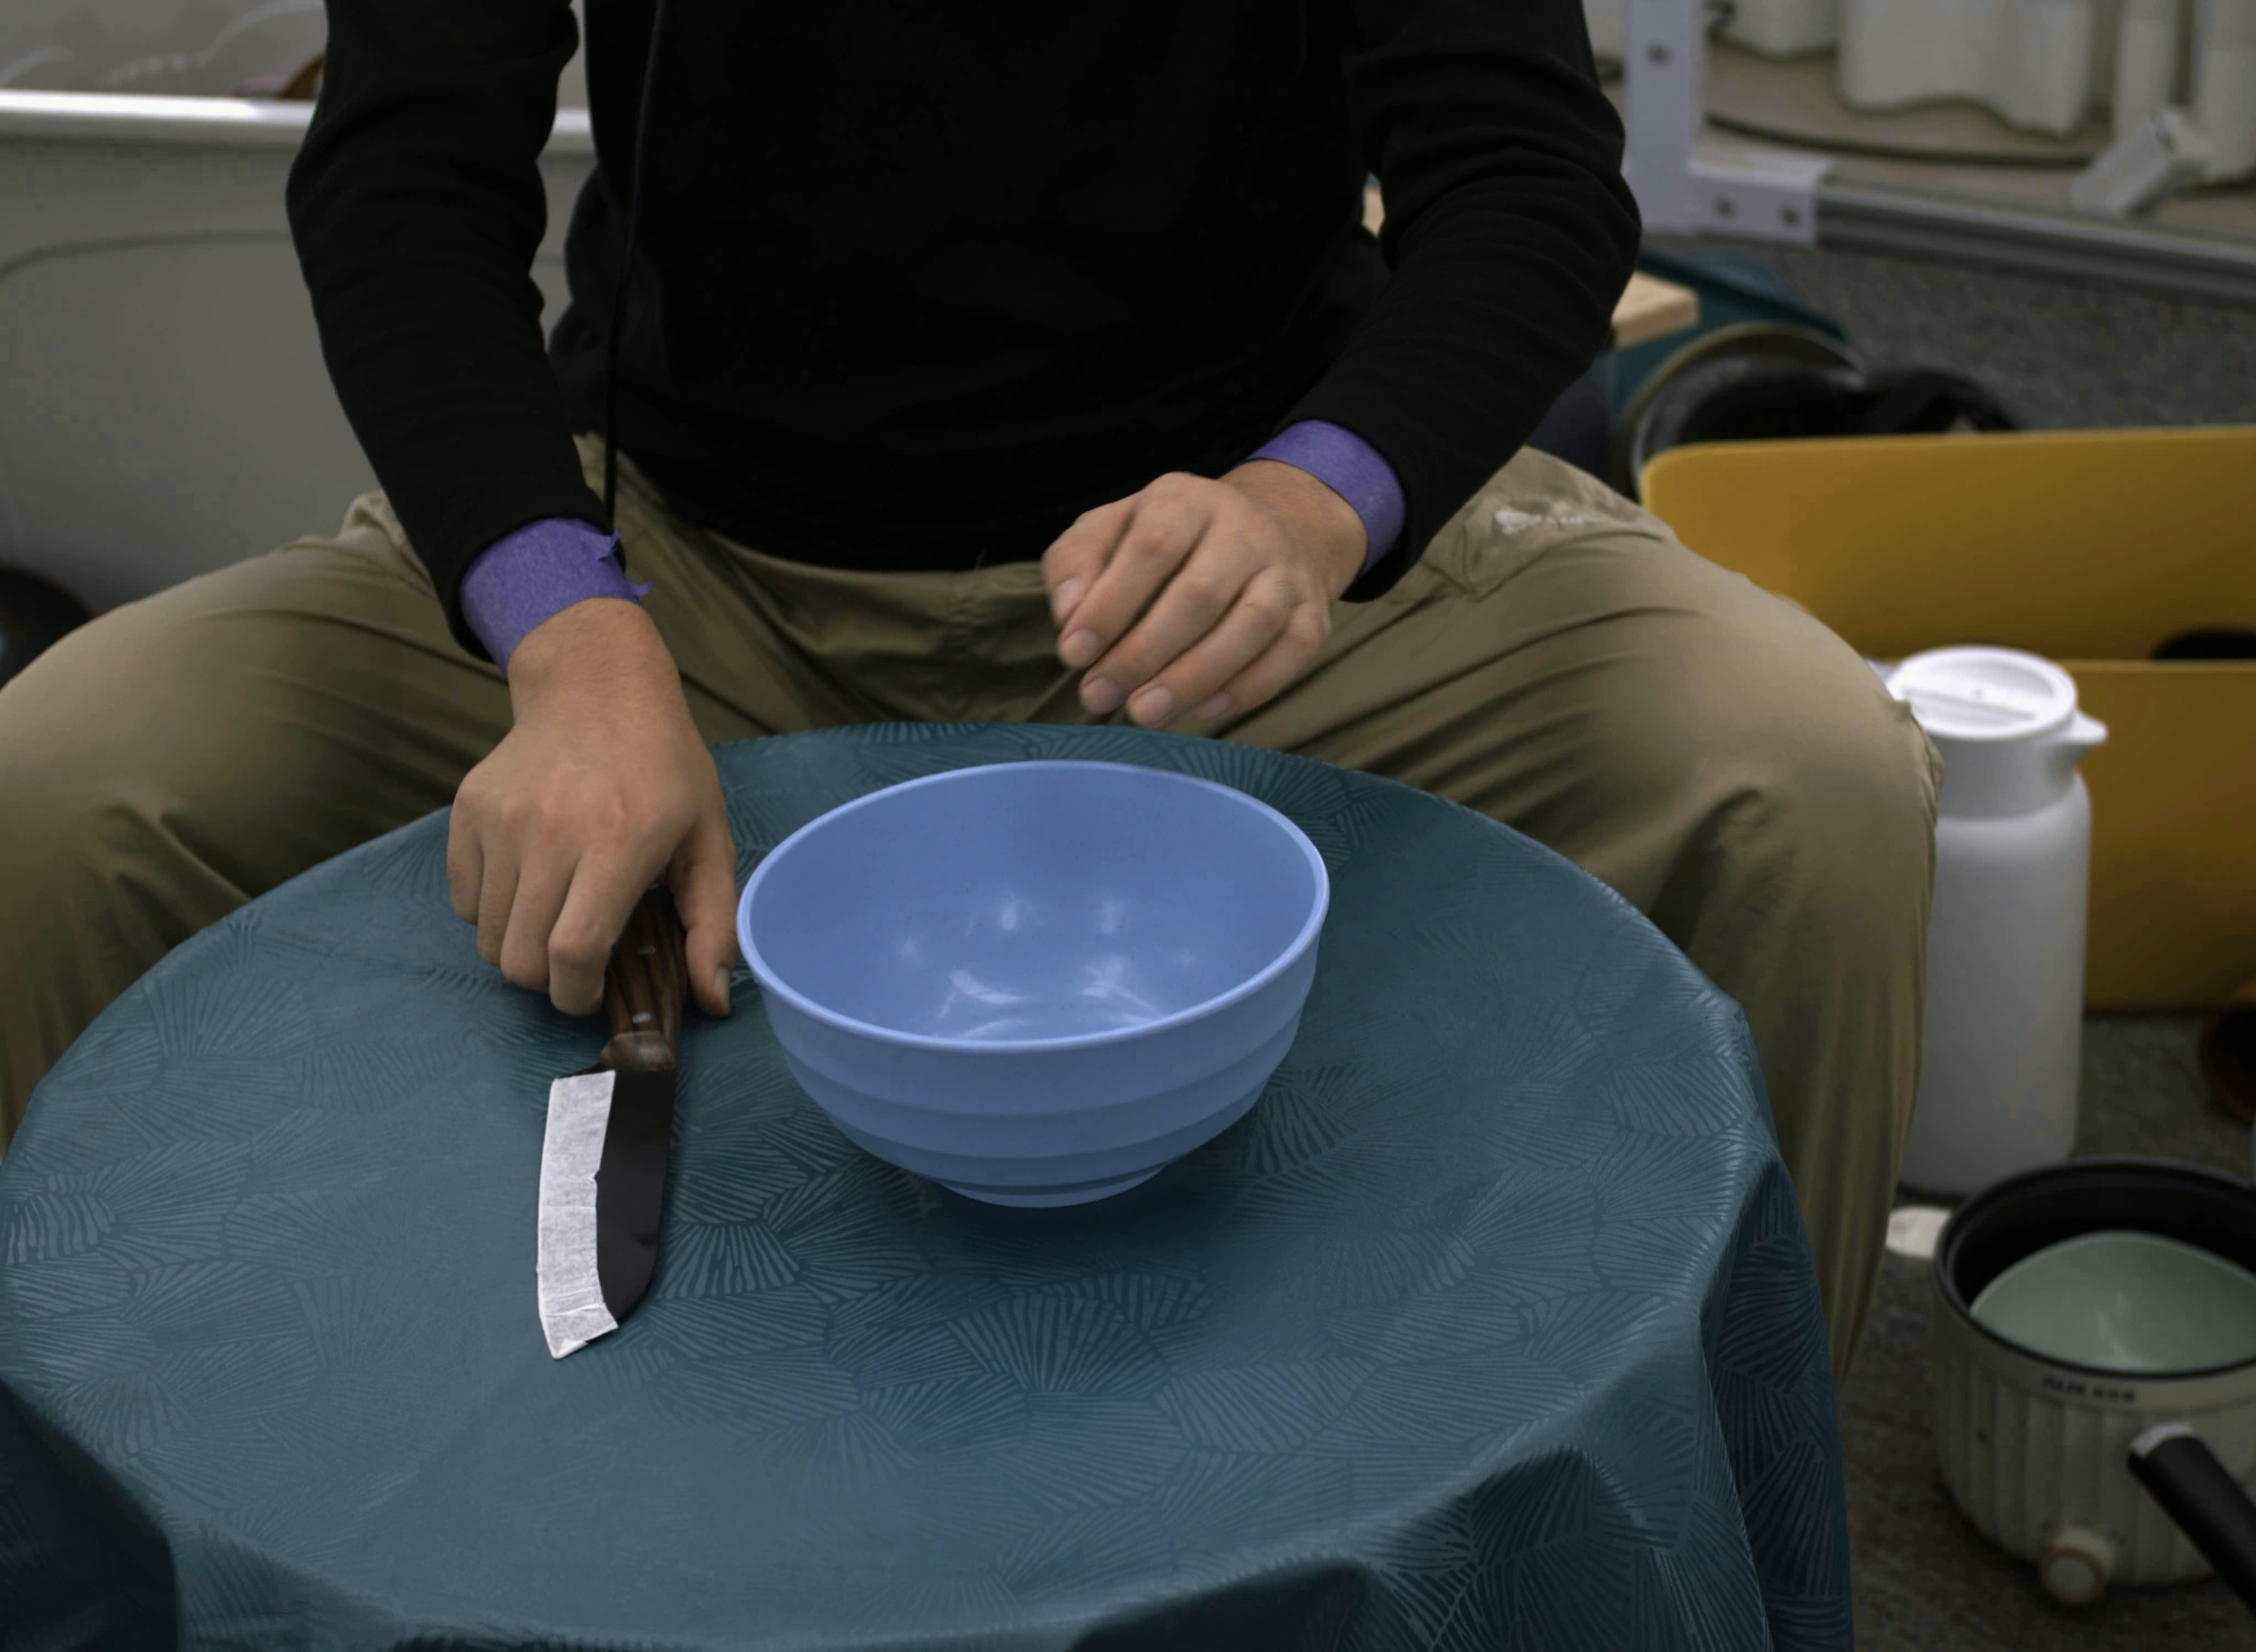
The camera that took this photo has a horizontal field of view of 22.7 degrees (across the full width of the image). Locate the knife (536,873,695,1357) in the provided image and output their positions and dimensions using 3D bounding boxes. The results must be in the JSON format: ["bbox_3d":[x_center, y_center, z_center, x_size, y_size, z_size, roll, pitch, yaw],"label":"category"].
[{"bbox_3d":[-0.174,0.097,1.909,0.050,0.020,0.294,-8,29,6],"label":"knife"}]

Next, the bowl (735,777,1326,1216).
[{"bbox_3d":[-0.030,0.066,1.873,0.195,0.094,0.199,-3,25,2],"label":"bowl"}]
